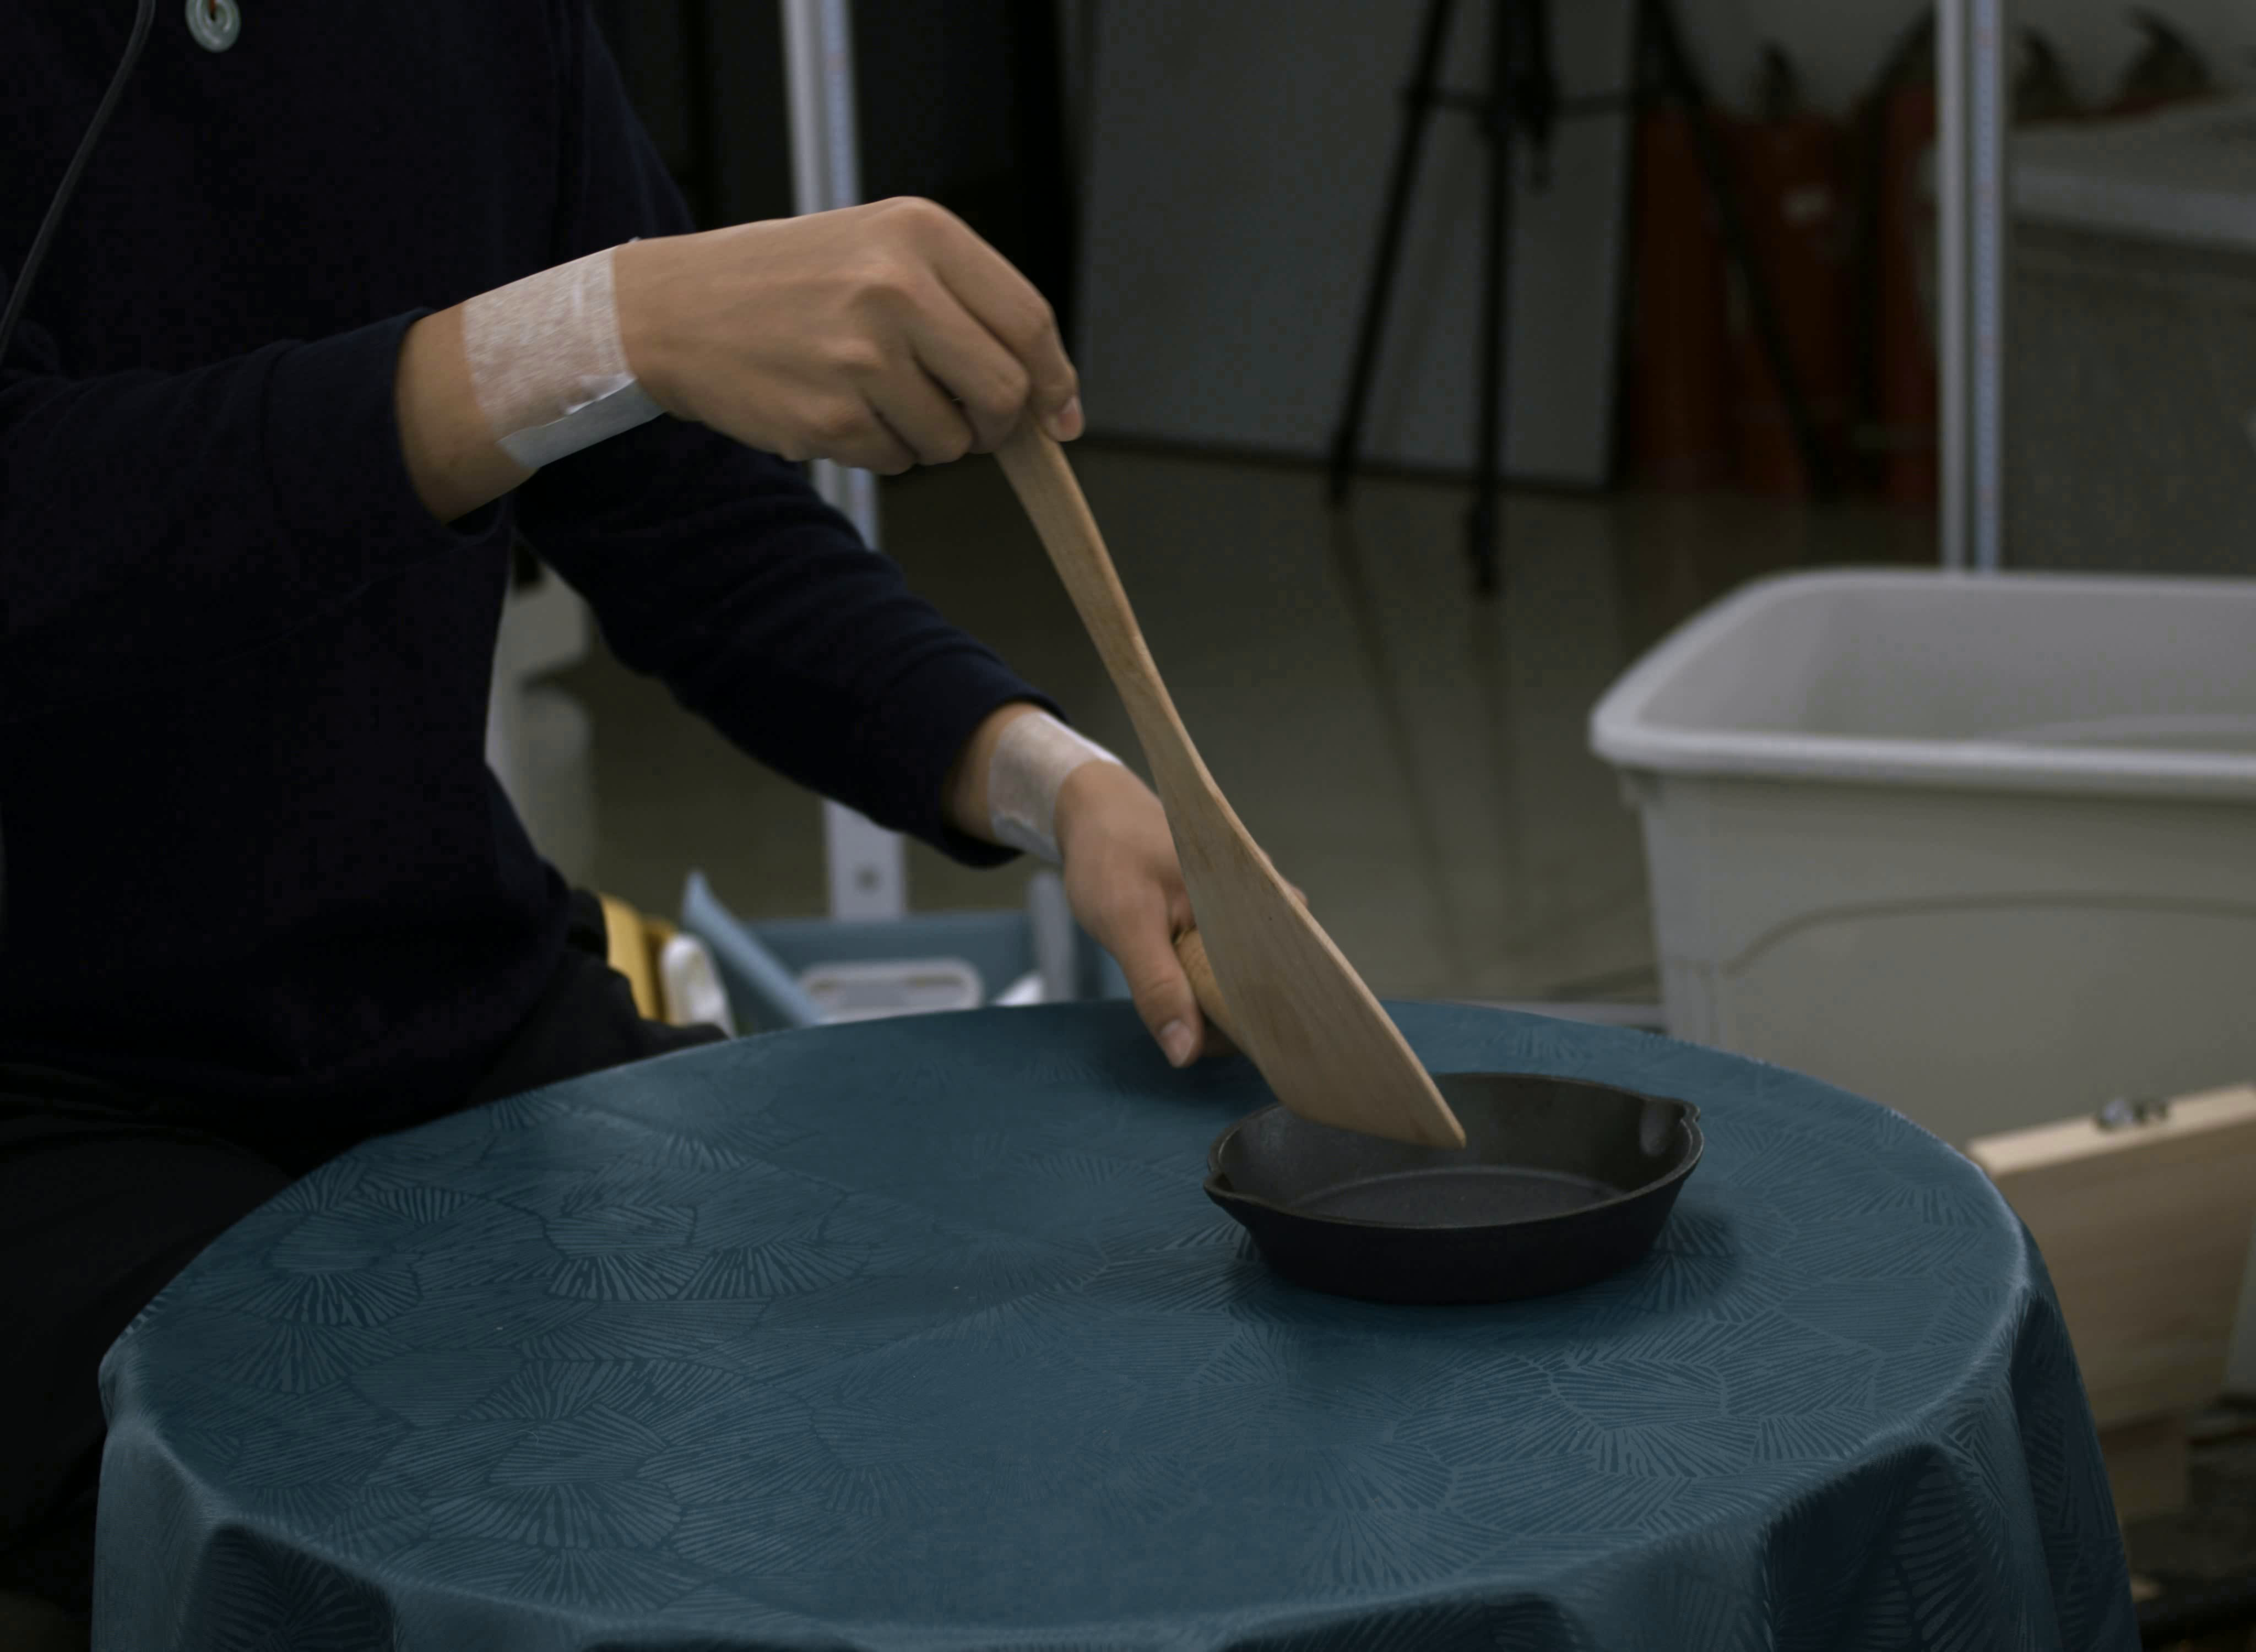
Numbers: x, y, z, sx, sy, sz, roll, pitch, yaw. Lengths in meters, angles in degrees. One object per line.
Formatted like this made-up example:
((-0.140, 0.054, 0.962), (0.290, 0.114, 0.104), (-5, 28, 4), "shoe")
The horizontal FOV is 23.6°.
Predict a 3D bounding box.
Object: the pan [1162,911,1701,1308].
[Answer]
((0.076, 0.089, 1.771), (0.165, 0.050, 0.327), (-9, 16, -17), "pan")

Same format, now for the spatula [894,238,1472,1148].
((0.010, -0.035, 1.654), (0.016, 0.328, 0.081), (-37, 18, -34), "spatula")
